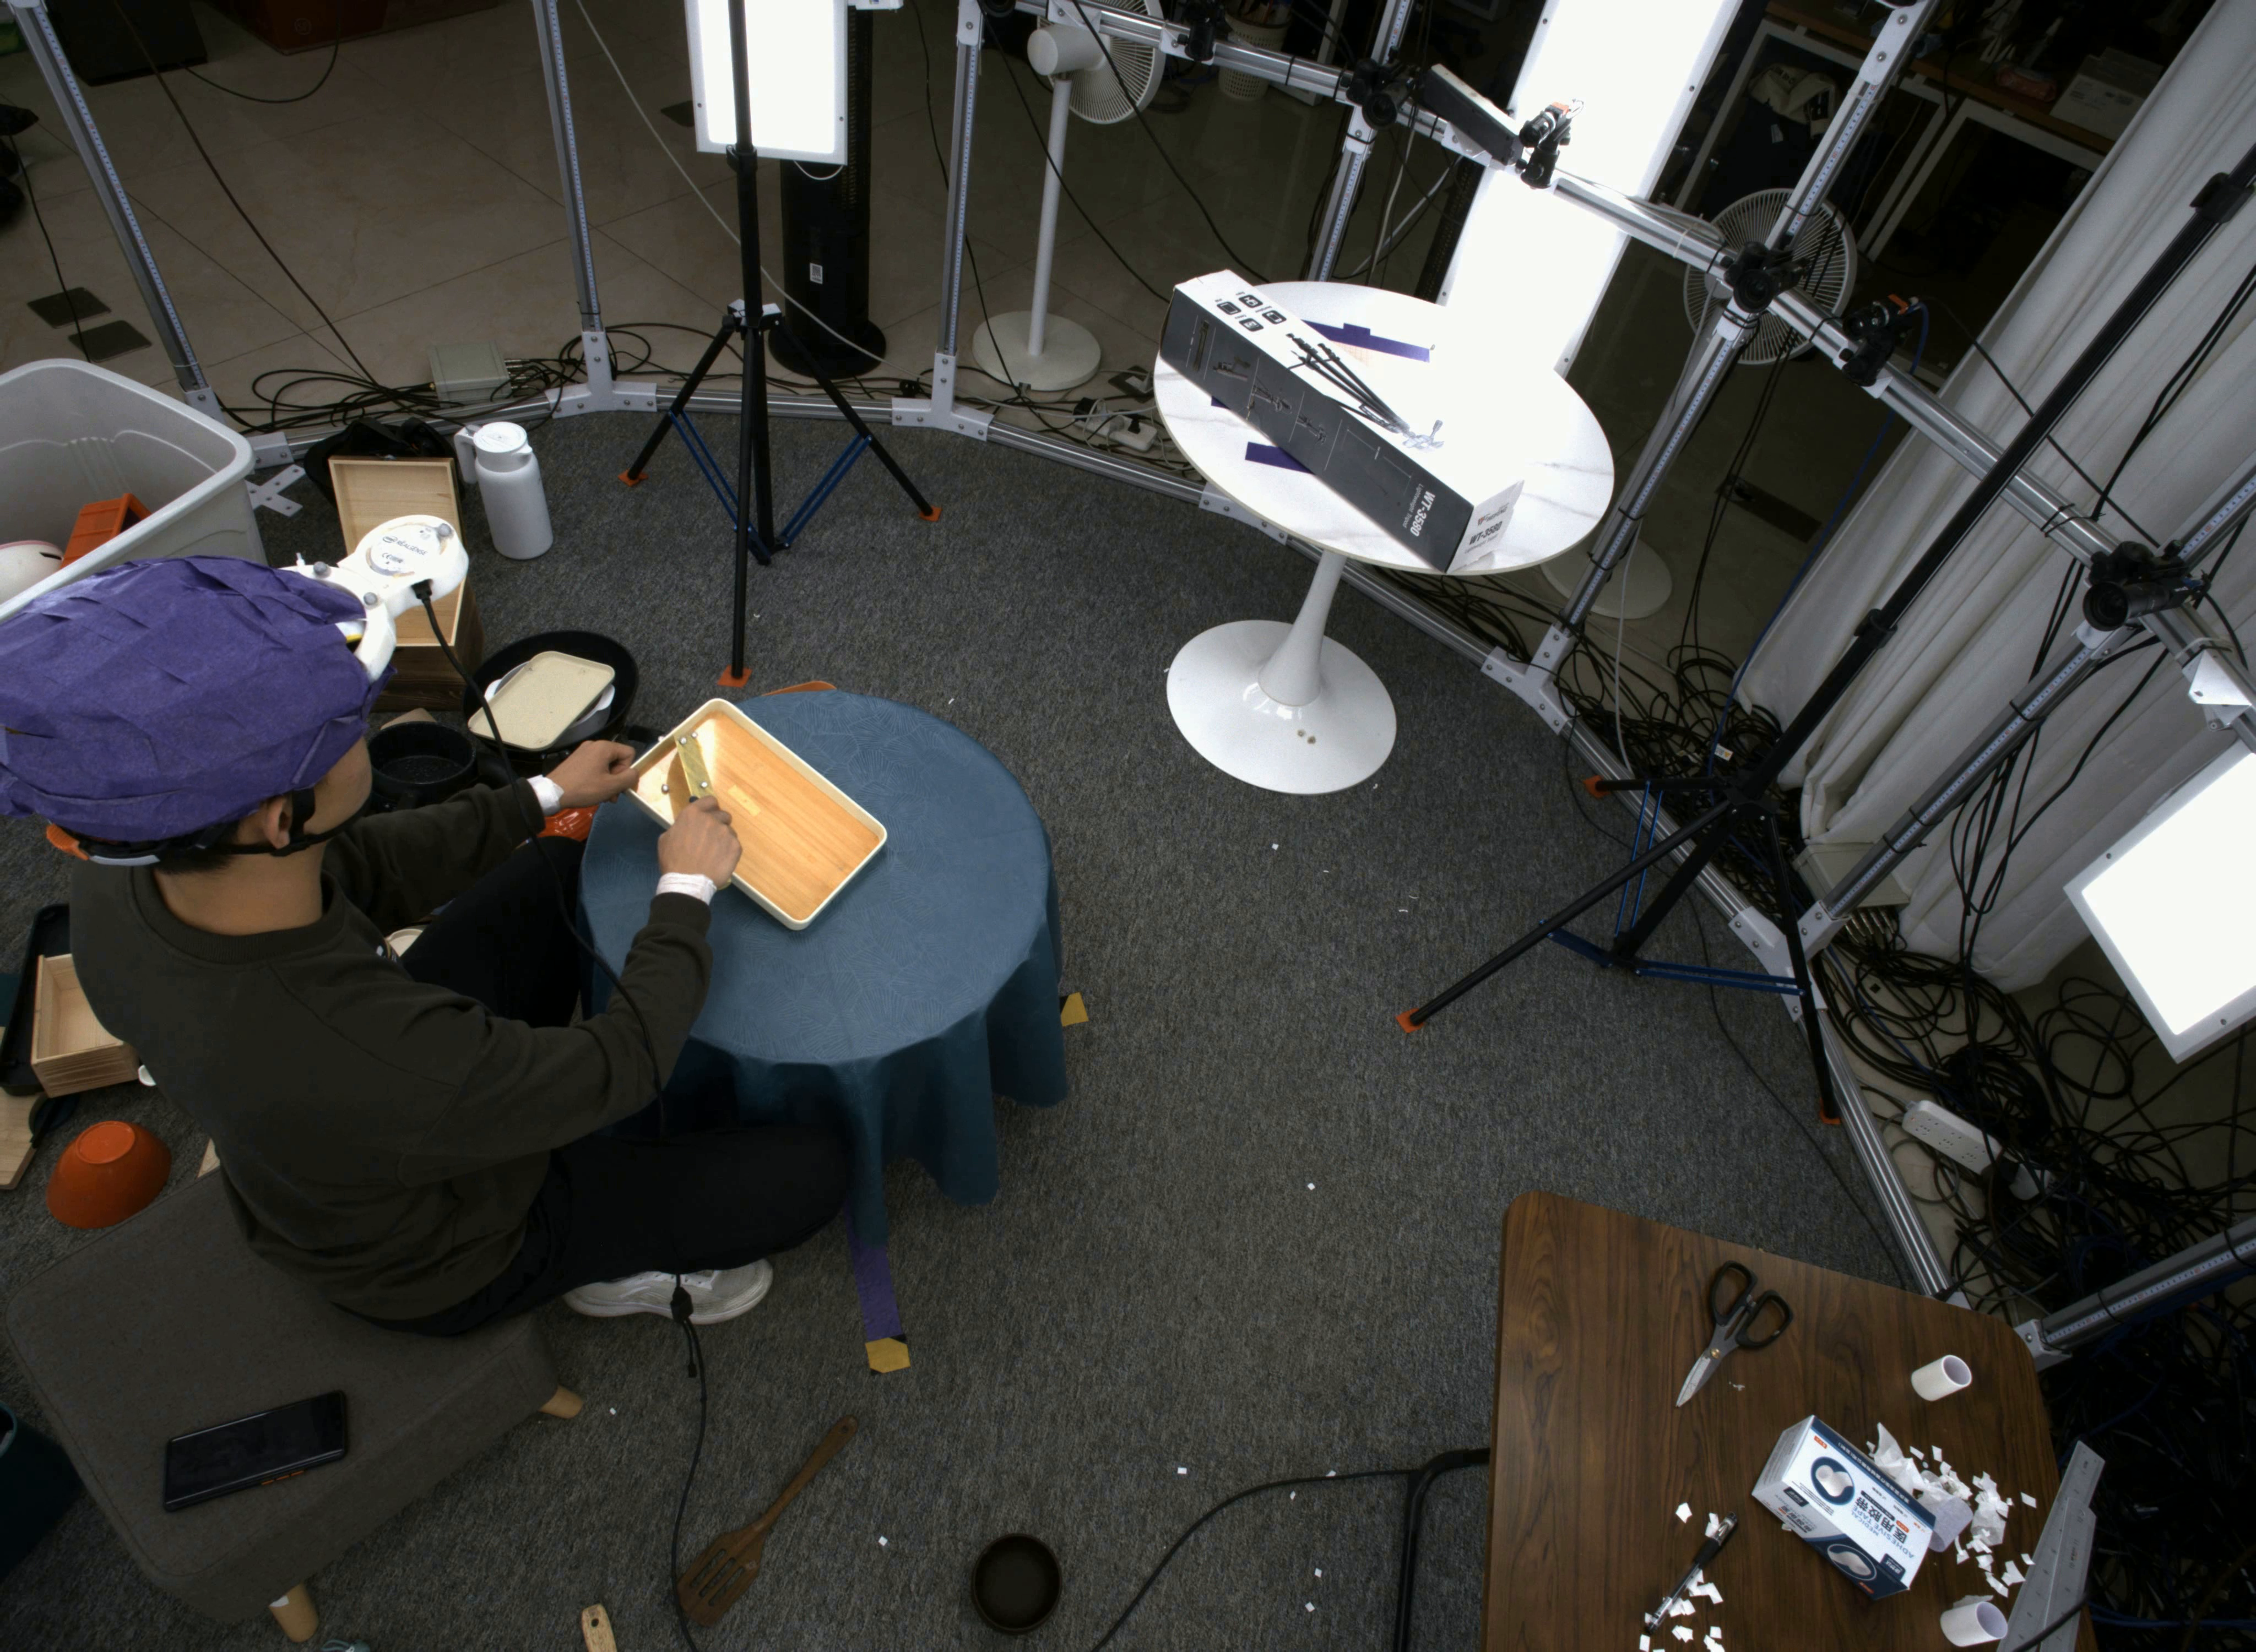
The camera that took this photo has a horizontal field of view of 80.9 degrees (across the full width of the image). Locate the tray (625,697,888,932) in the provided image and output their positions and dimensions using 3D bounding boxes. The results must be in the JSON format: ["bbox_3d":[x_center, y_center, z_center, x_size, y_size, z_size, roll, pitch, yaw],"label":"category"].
[{"bbox_3d":[-0.480,-0.019,1.673,0.300,0.027,0.191,39,54,-2],"label":"tray"}]

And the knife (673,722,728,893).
[{"bbox_3d":[-0.523,-0.028,1.592,0.027,0.084,0.281,-29,55,5],"label":"knife"}]
